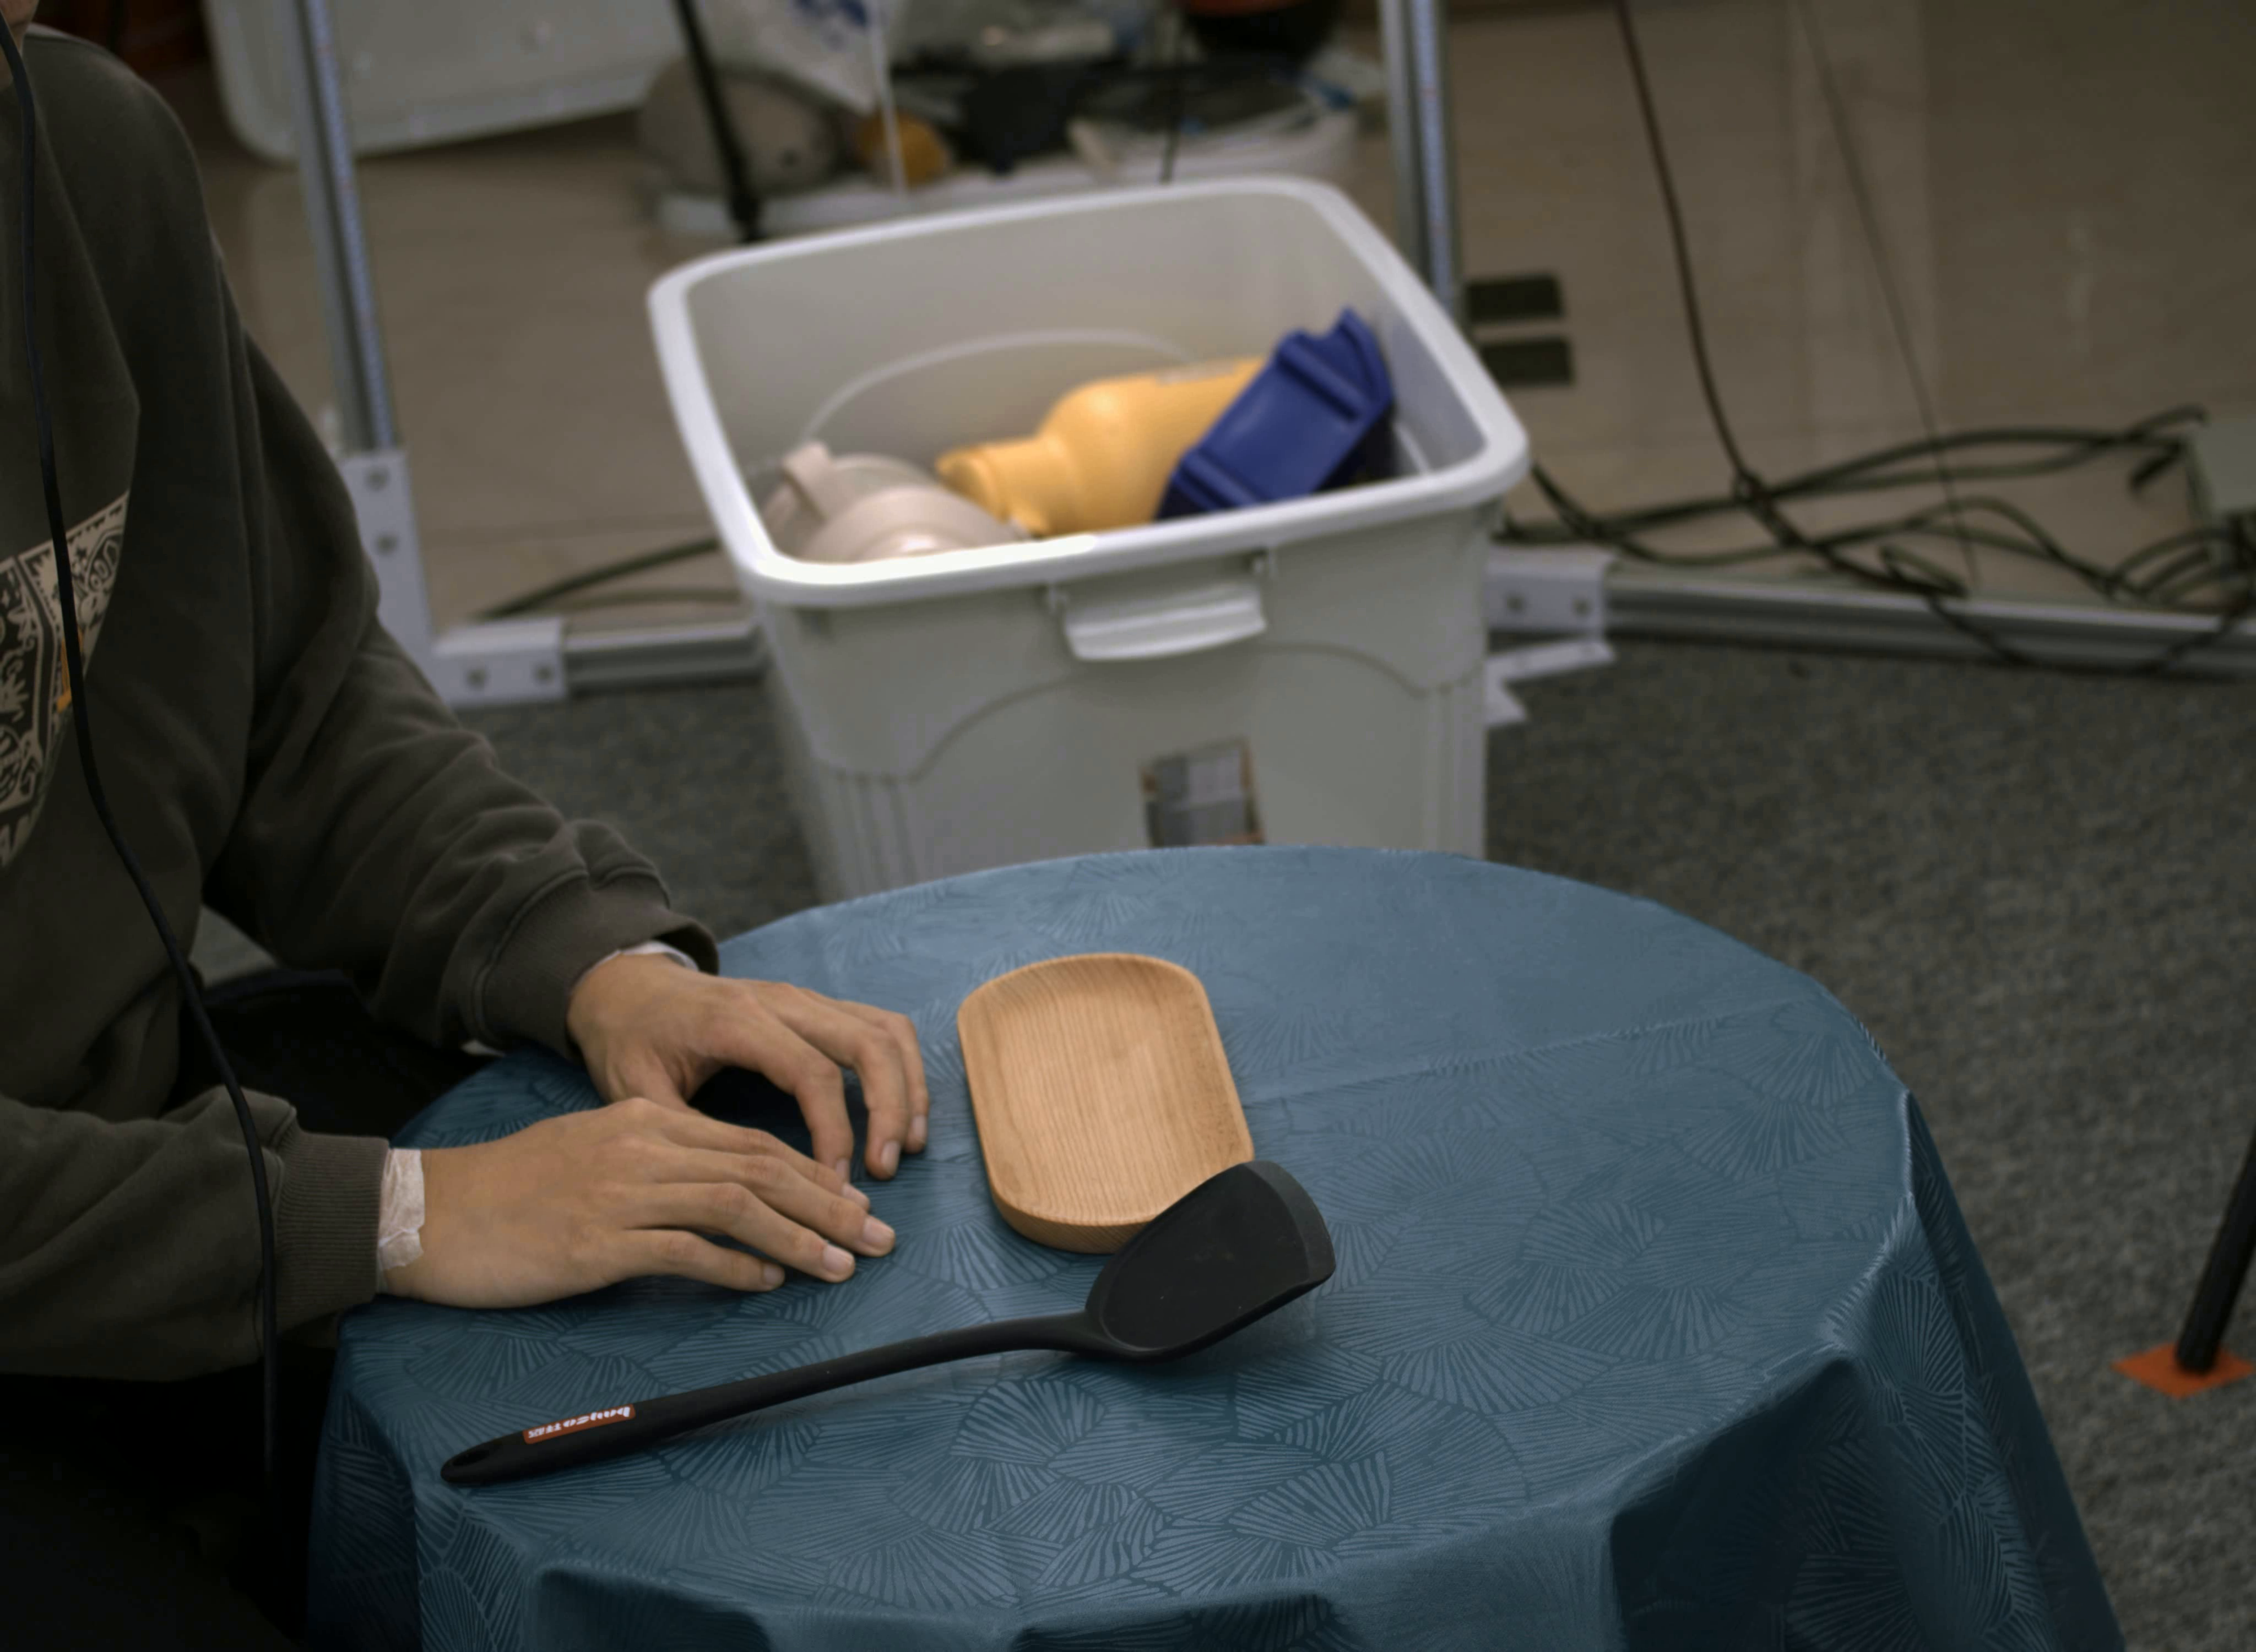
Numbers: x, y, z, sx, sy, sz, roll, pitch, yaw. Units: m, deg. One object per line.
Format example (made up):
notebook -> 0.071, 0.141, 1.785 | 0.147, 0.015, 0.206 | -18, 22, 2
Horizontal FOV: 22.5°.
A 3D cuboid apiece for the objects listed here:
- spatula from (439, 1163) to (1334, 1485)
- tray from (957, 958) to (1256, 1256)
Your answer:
spatula -> -0.088, 0.186, 2.025 | 0.325, 0.041, 0.098 | -11, 24, -9
tray -> -0.010, 0.107, 2.199 | 0.101, 0.020, 0.228 | -9, 26, -4
